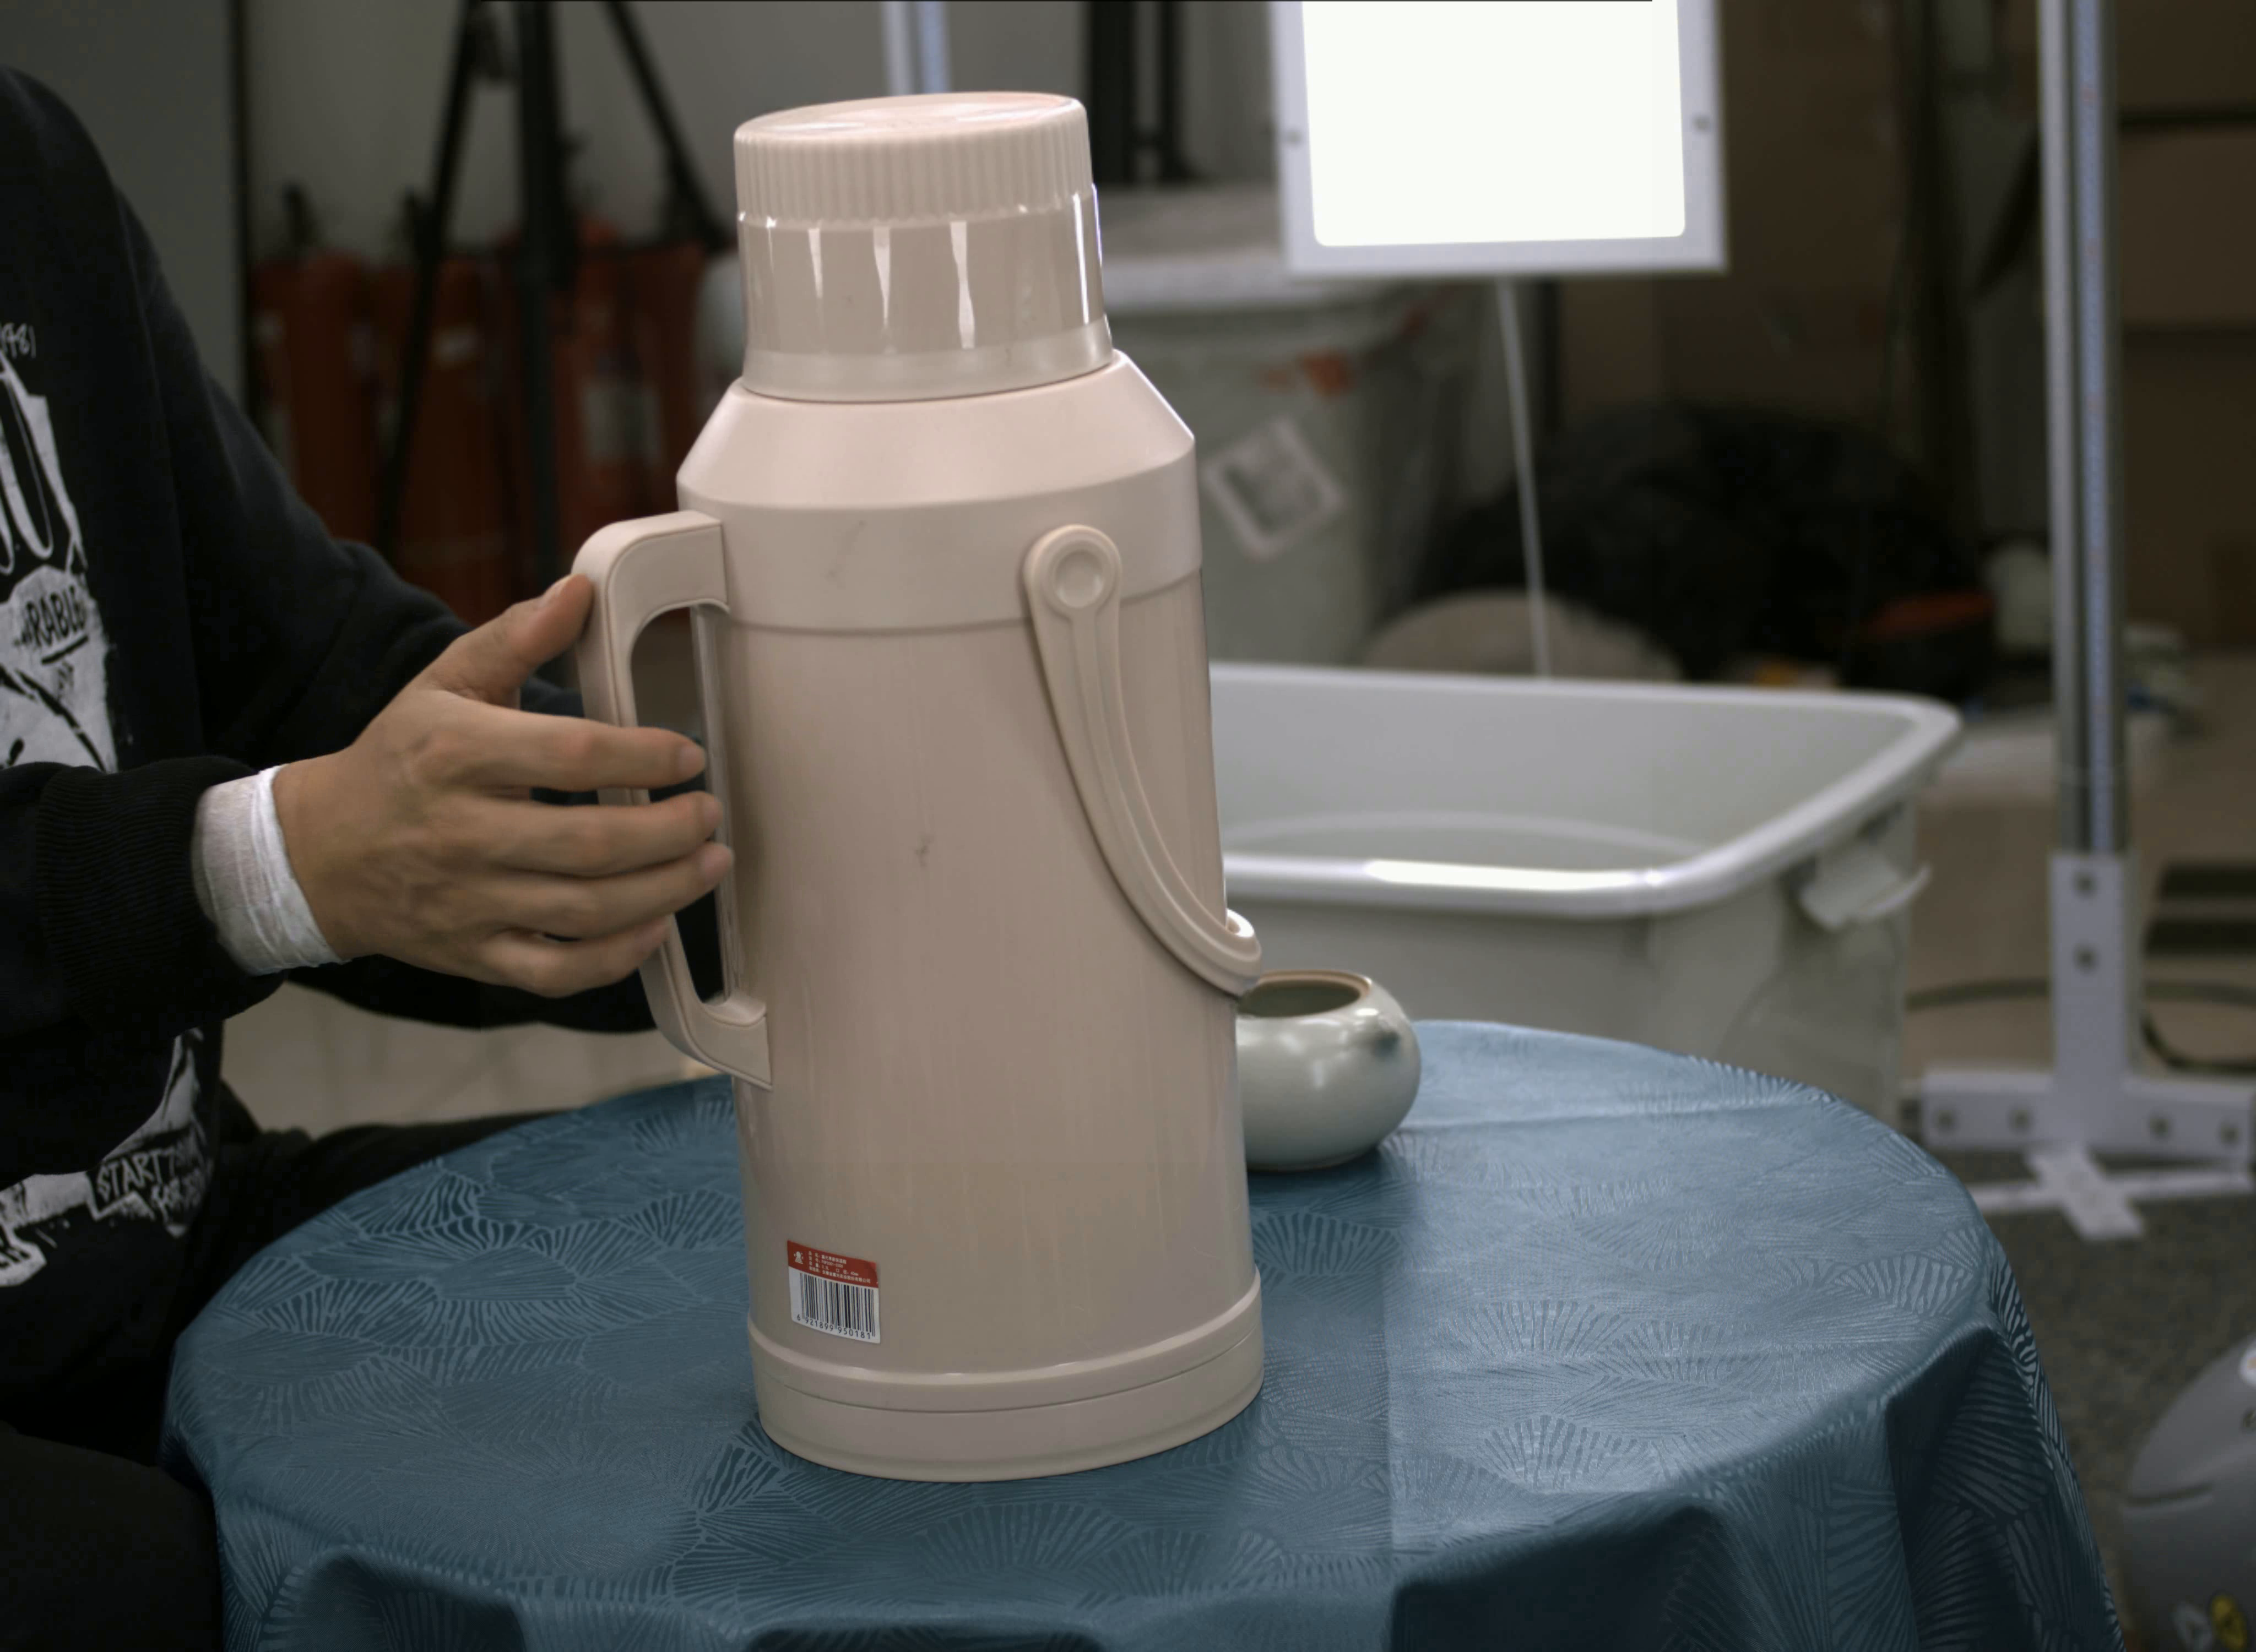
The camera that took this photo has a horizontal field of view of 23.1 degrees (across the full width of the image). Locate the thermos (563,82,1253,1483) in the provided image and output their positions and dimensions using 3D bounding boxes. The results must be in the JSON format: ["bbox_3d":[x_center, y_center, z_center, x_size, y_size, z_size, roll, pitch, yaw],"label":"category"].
[{"bbox_3d":[-0.066,-0.013,1.660,0.202,0.408,0.178,-11,17,-27],"label":"thermos"}]

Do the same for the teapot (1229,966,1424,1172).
[{"bbox_3d":[0.051,0.083,1.931,0.131,0.060,0.089,10,24,44],"label":"teapot"}]
